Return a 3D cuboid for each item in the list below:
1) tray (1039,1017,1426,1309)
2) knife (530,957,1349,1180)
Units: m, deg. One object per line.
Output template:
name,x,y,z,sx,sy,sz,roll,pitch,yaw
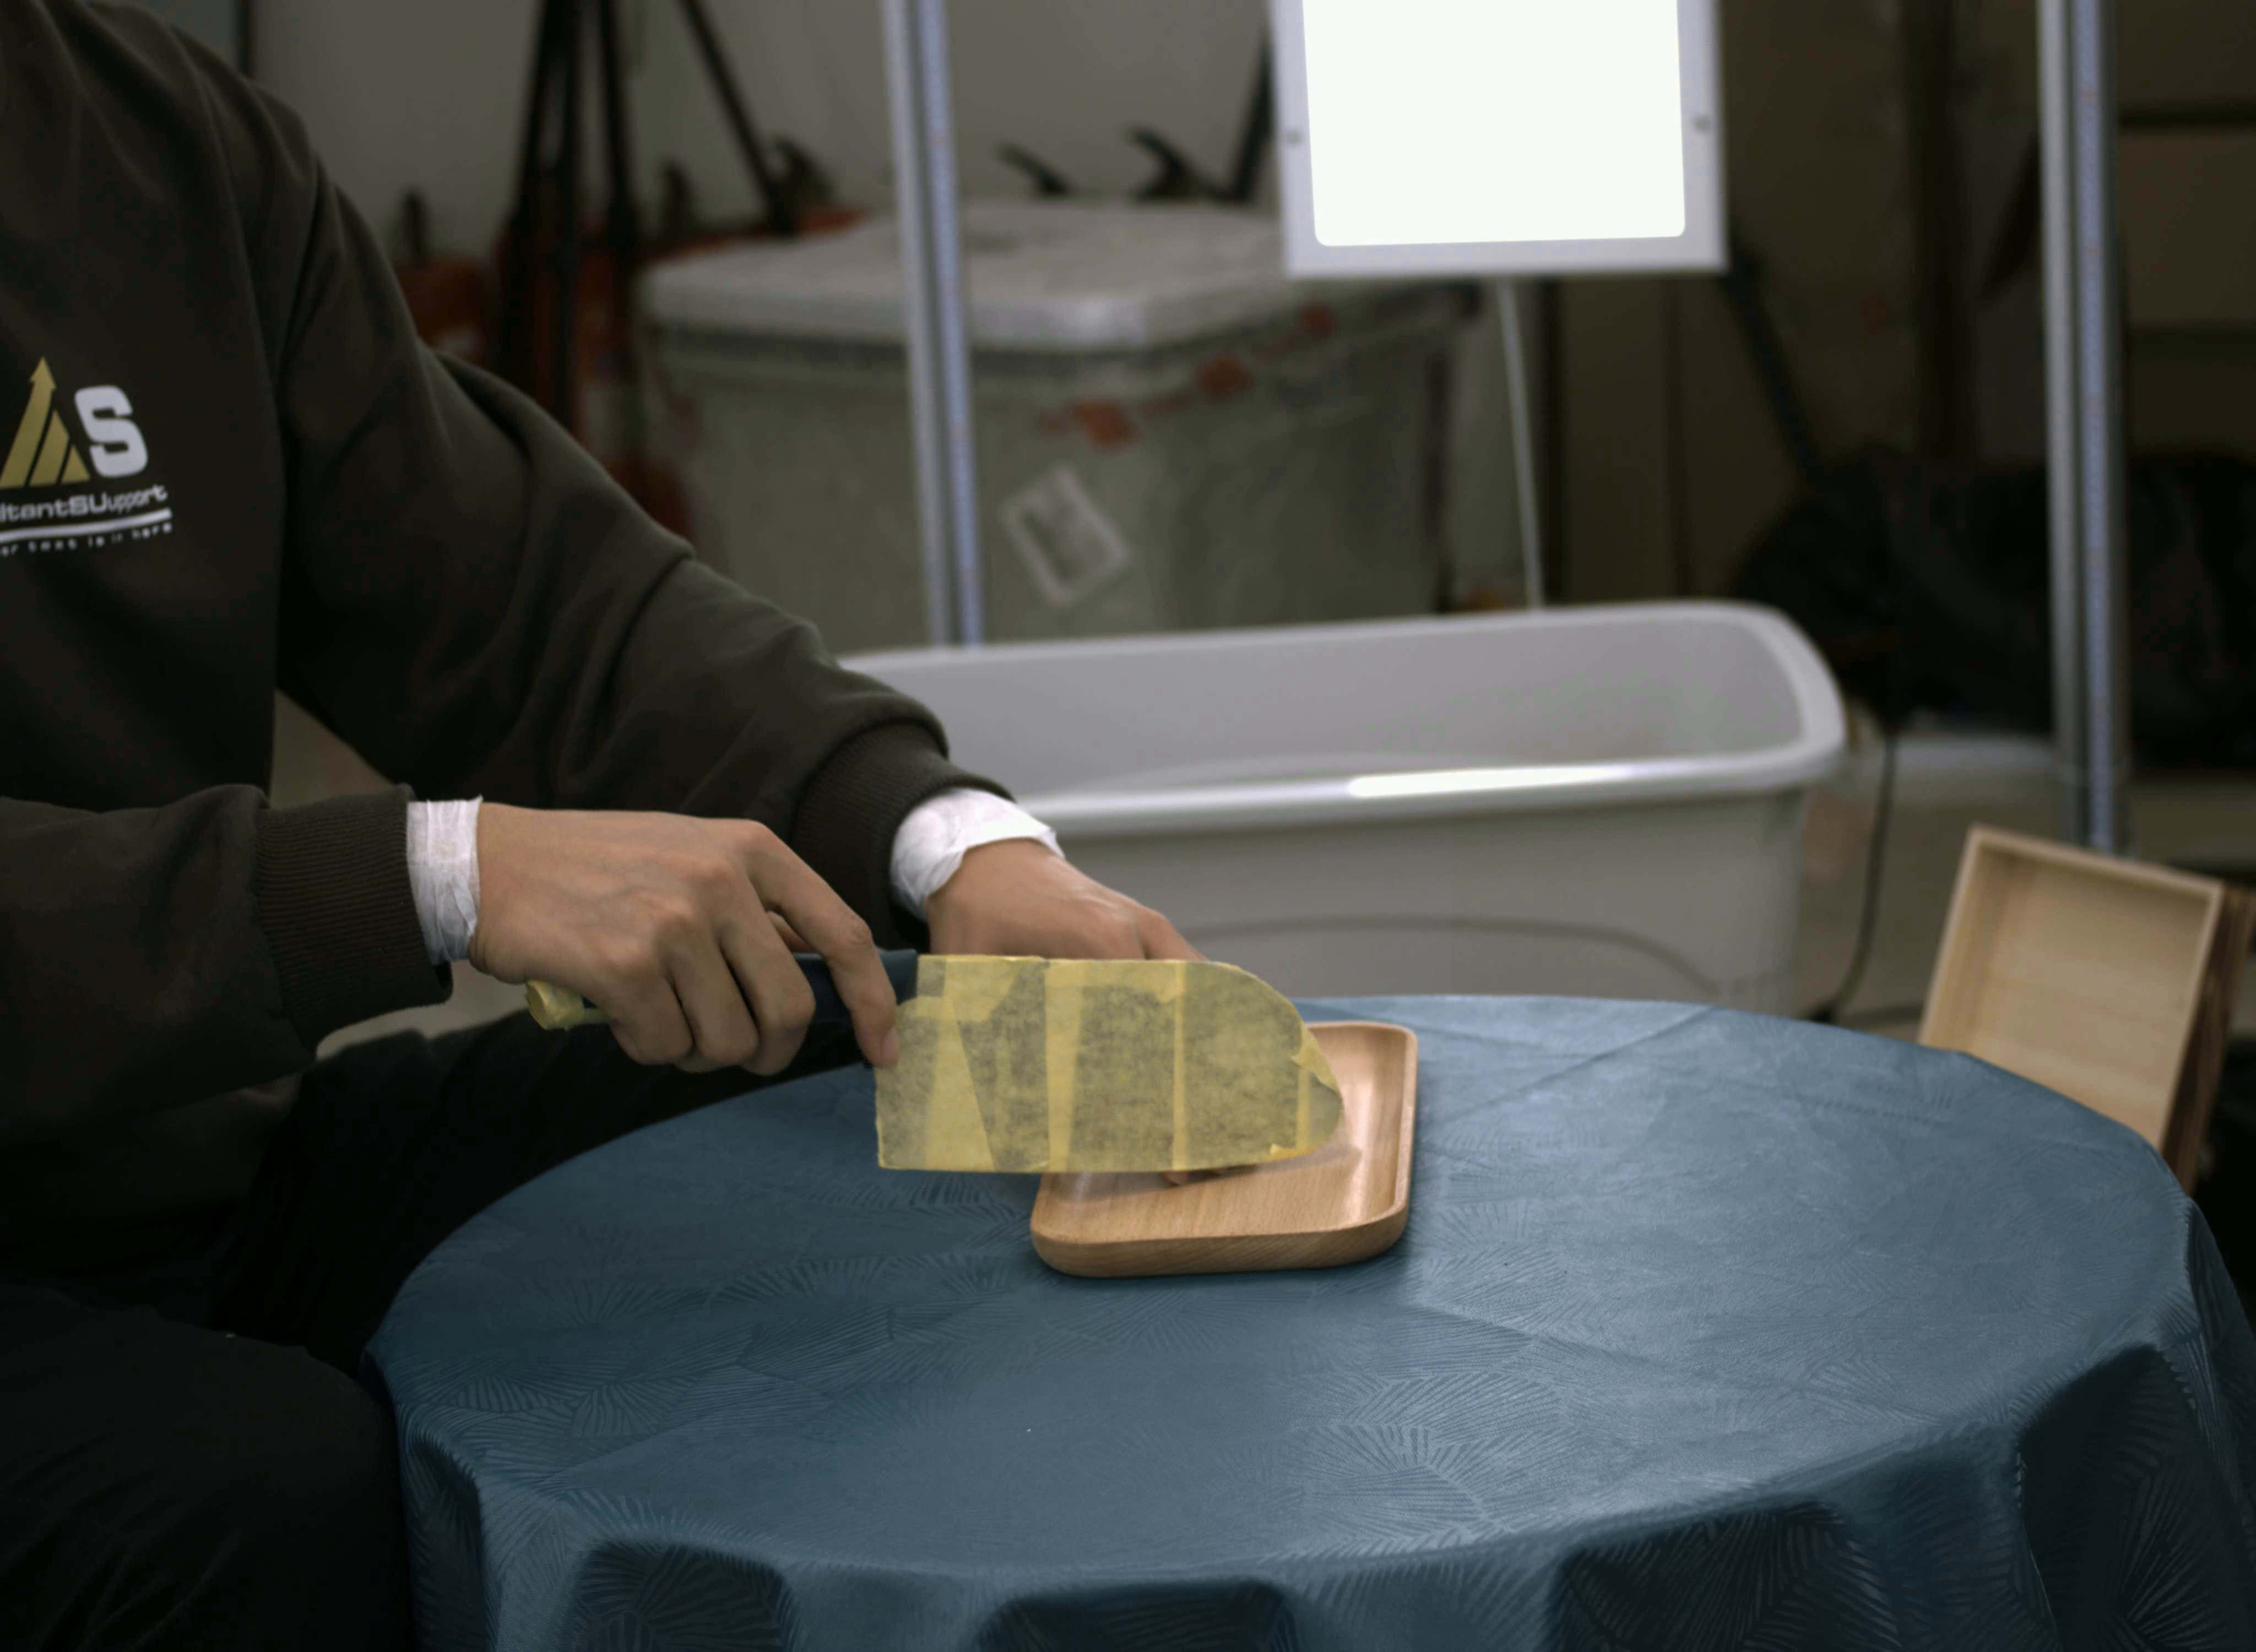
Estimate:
tray,0.040,0.115,1.921,0.131,0.023,0.249,-7,17,7
knife,-0.060,0.079,1.856,0.285,0.081,0.027,4,-7,-15
